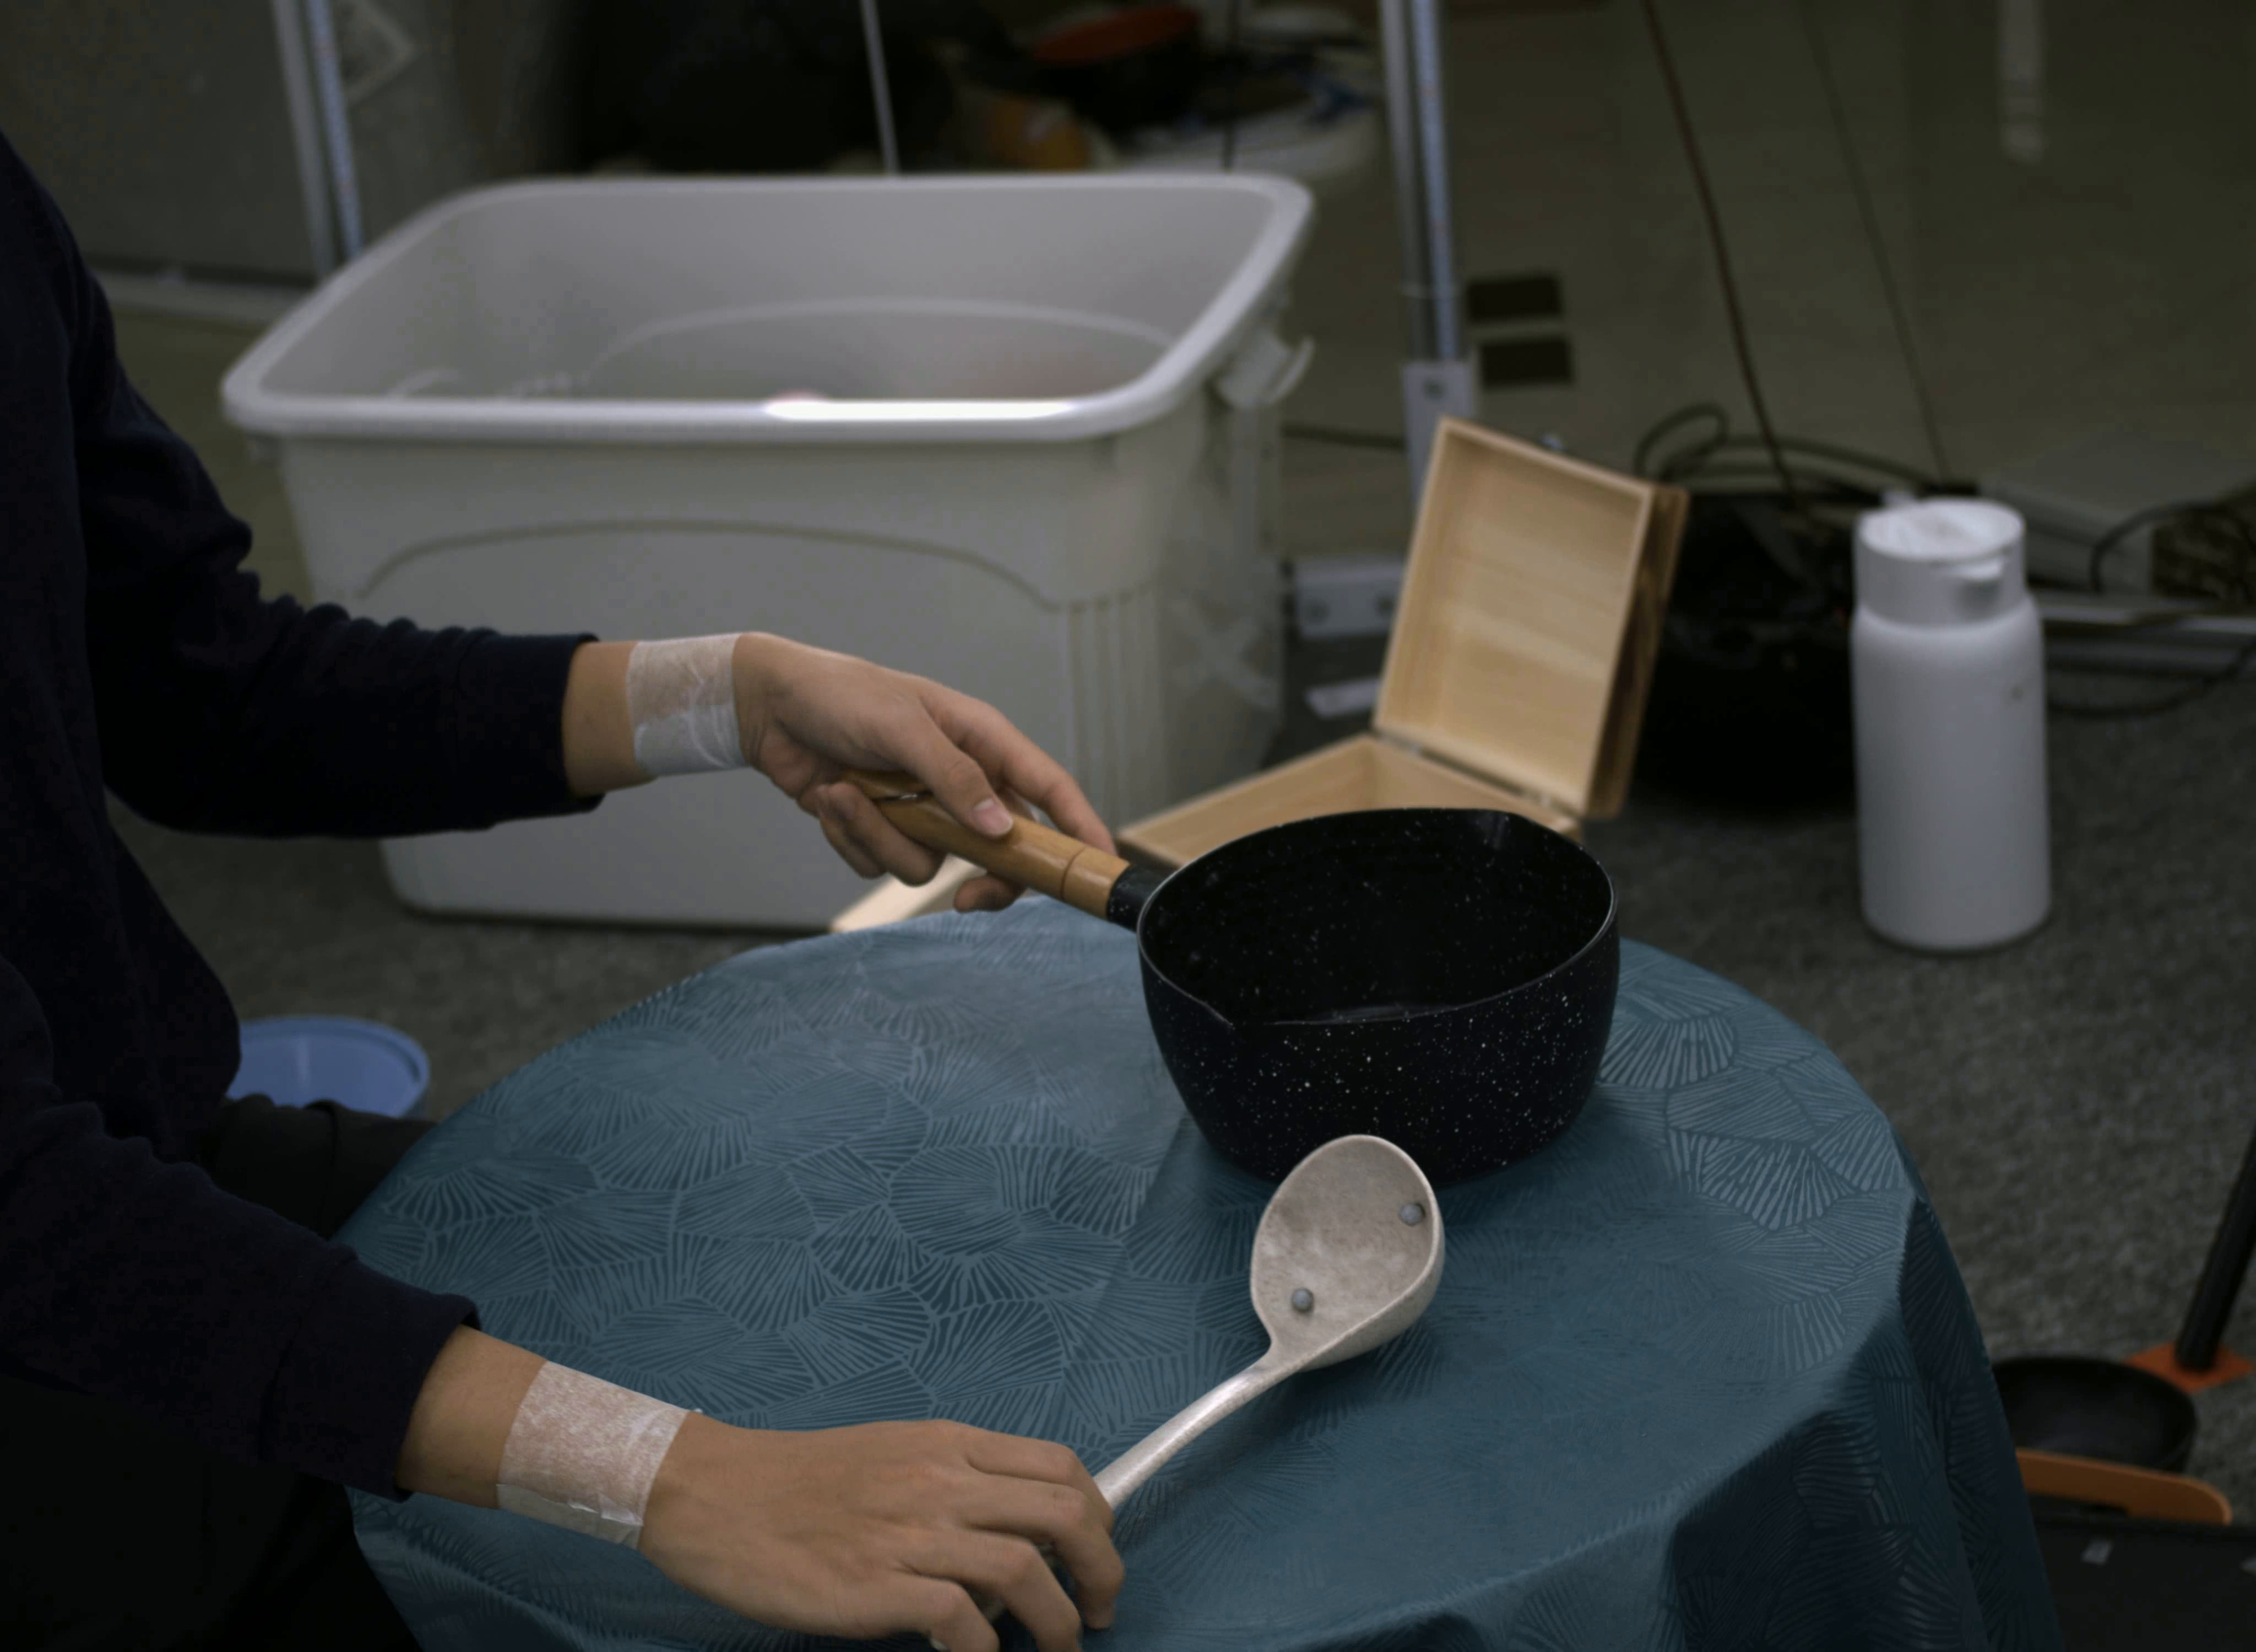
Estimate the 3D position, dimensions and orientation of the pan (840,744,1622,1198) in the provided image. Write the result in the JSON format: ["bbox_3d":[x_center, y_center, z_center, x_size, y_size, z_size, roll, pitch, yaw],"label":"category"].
[{"bbox_3d":[0.031,0.047,2.207,0.341,0.110,0.205,12,32,31],"label":"pan"}]

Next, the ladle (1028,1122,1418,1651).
[{"bbox_3d":[0.000,0.223,1.981,0.273,0.069,0.089,-47,5,-13],"label":"ladle"}]
